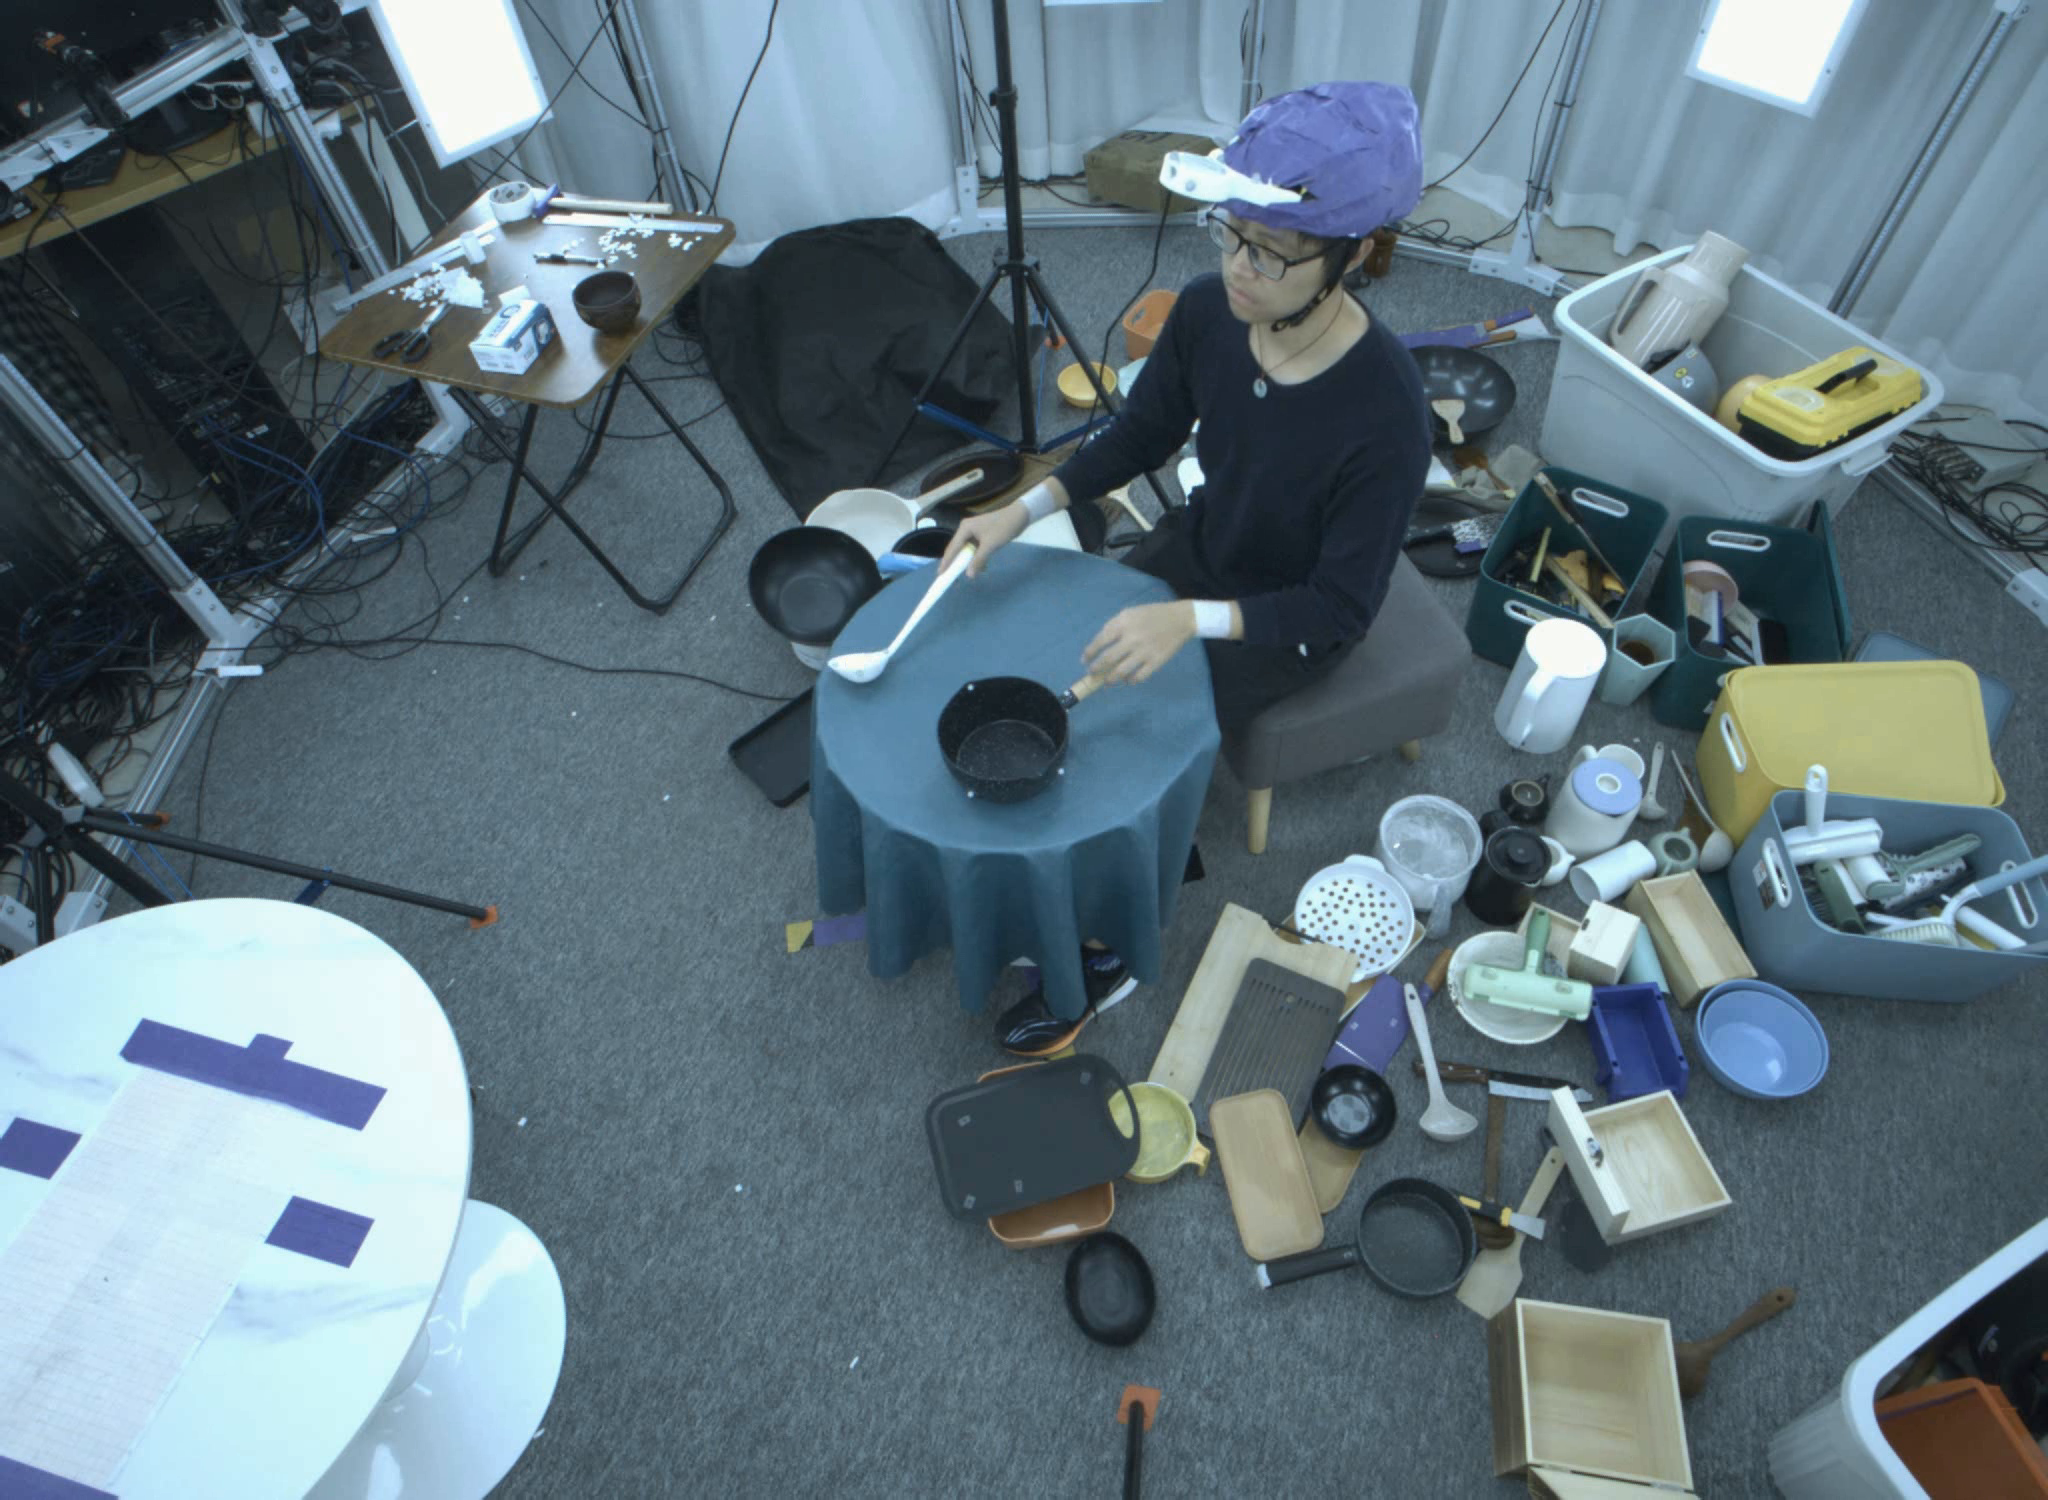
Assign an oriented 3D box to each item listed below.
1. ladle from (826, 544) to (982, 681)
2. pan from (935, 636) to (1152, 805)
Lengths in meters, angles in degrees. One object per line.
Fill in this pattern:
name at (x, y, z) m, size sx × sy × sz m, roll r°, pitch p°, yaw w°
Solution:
ladle at (-0.184, -0.217, 1.880) m, size 0.293 × 0.071 × 0.088 m, roll -49°, pitch 24°, yaw -10°
pan at (0.038, -0.052, 1.756) m, size 0.345 × 0.109 × 0.203 m, roll -30°, pitch 58°, yaw -16°
